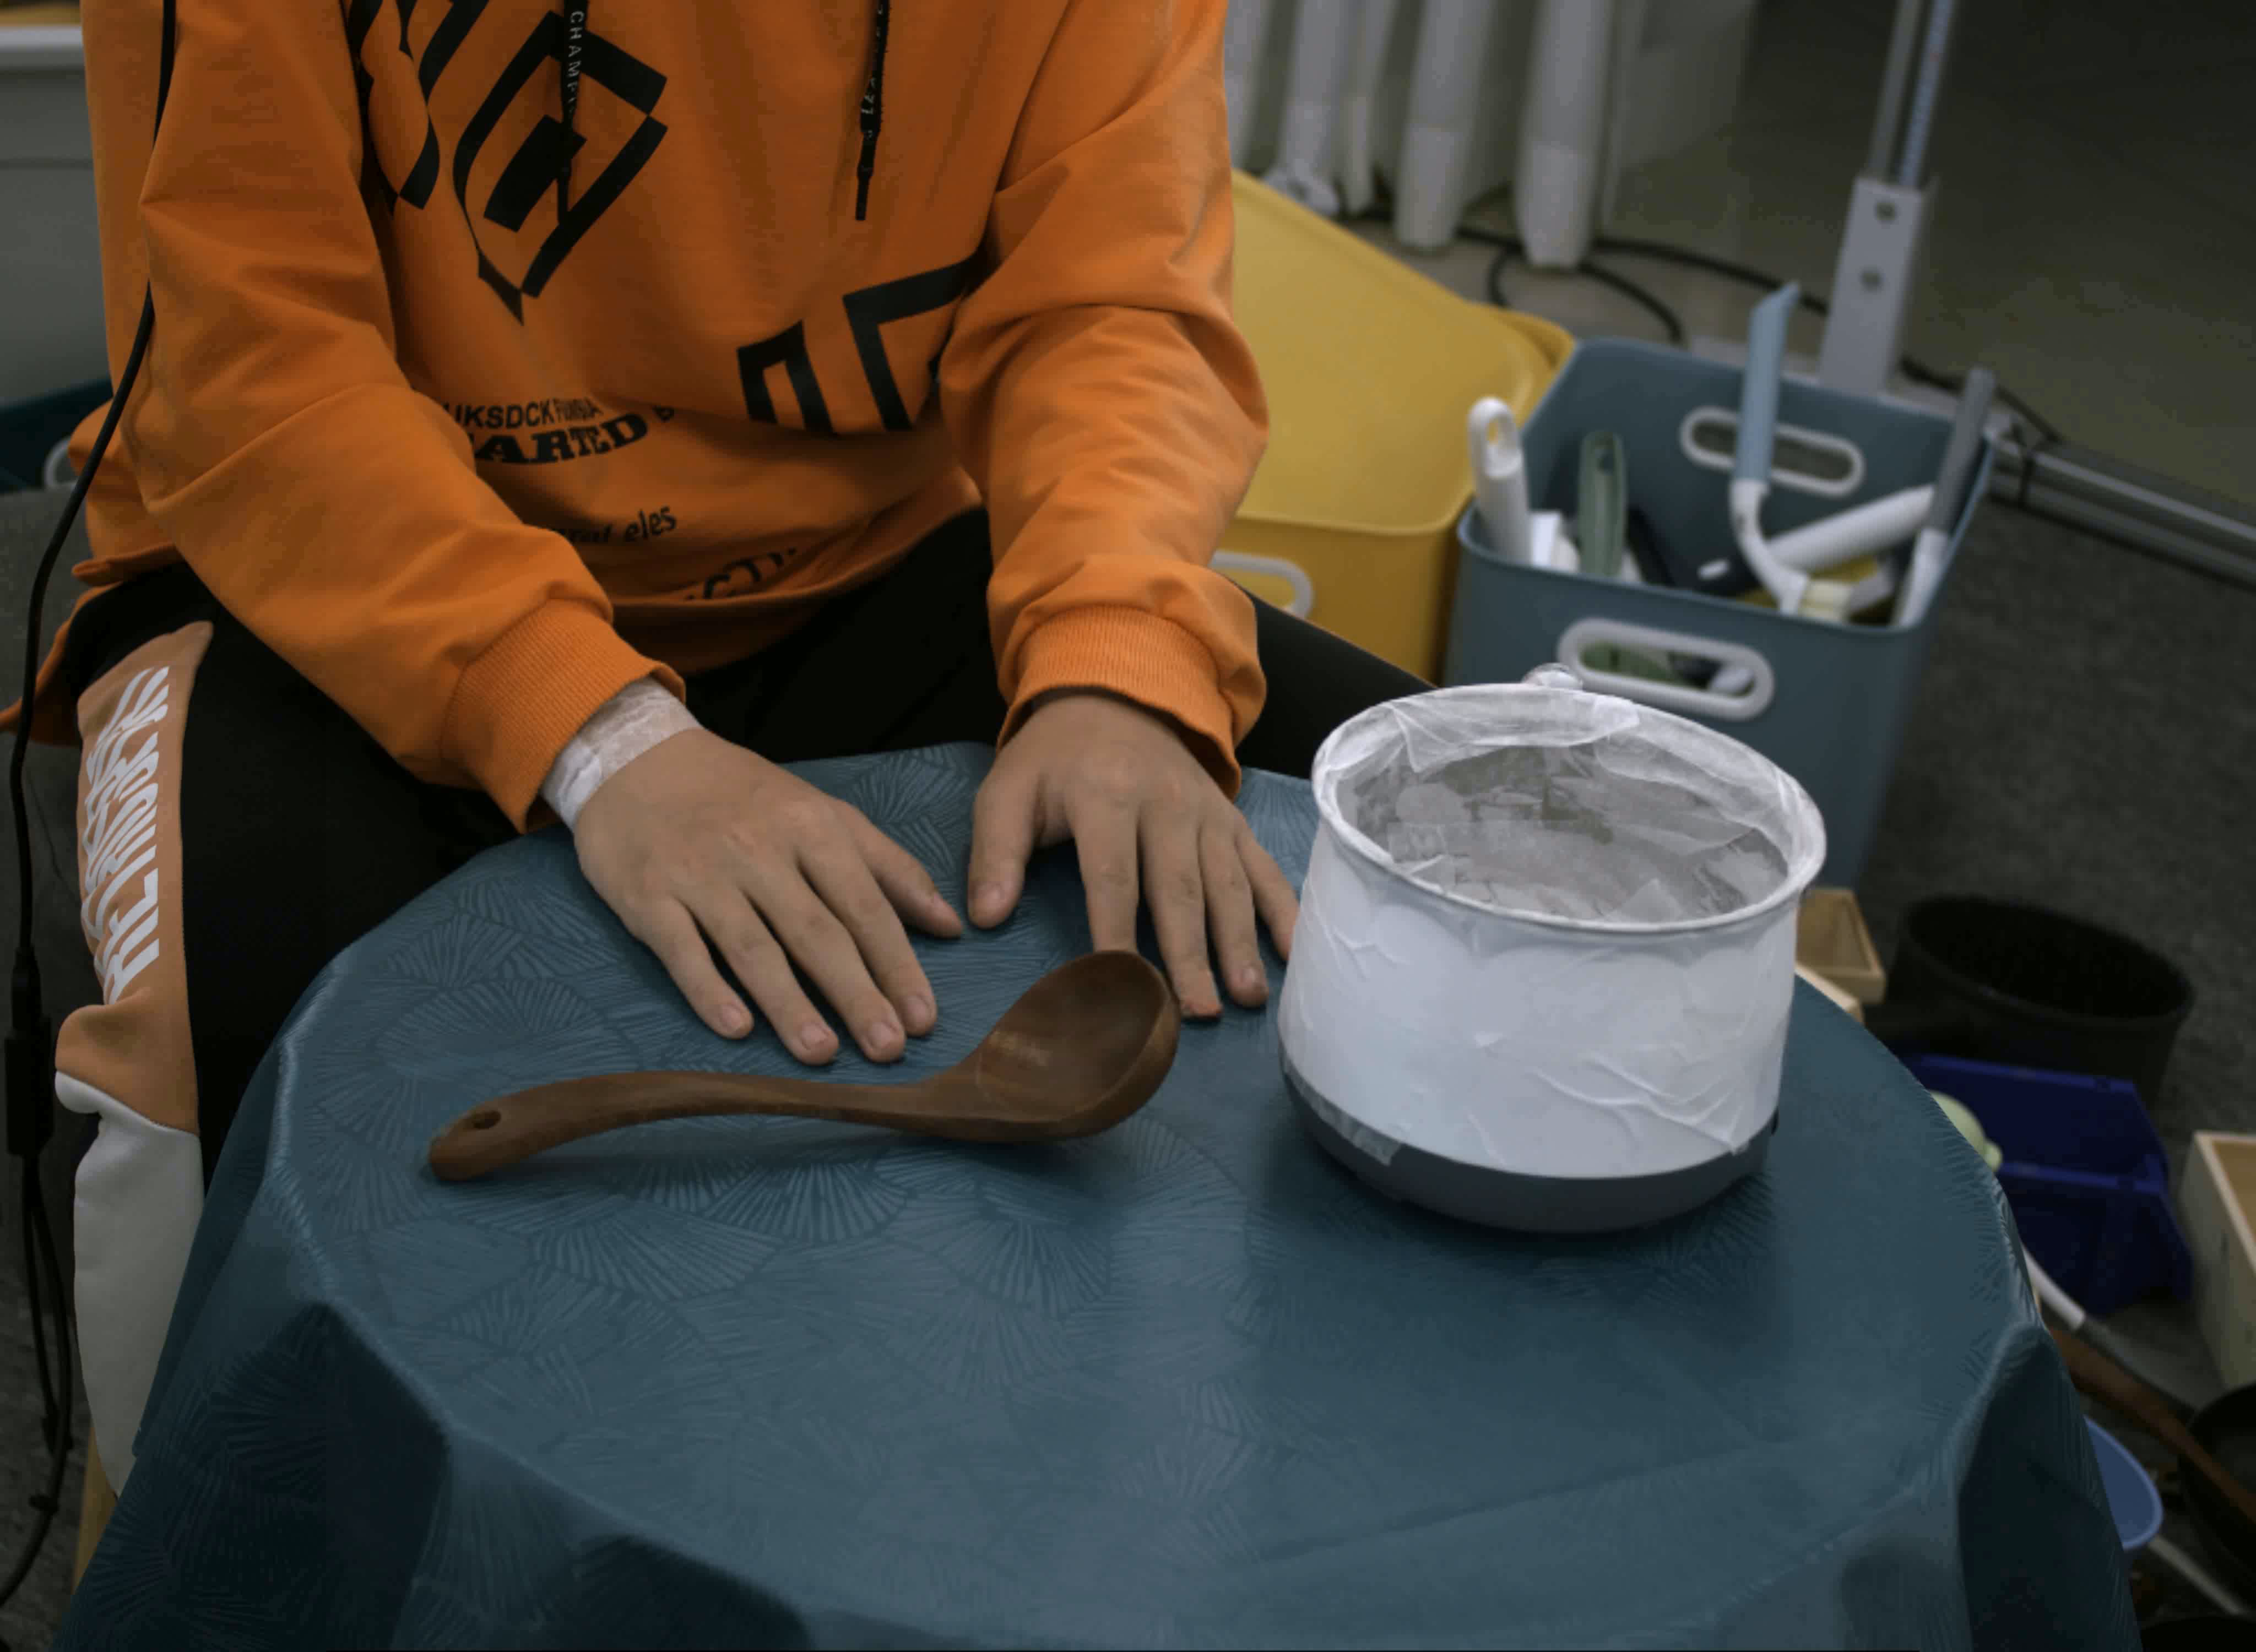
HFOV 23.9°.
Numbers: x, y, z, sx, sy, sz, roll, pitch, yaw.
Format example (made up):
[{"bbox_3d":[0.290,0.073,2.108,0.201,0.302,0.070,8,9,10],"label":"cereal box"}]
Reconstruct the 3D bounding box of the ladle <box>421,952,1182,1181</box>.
[{"bbox_3d":[-0.108,0.081,1.791,0.258,0.065,0.077,-2,25,-17],"label":"ladle"}]

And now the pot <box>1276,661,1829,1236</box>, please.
[{"bbox_3d":[0.143,0.035,1.857,0.178,0.136,0.235,6,27,-3],"label":"pot"}]
